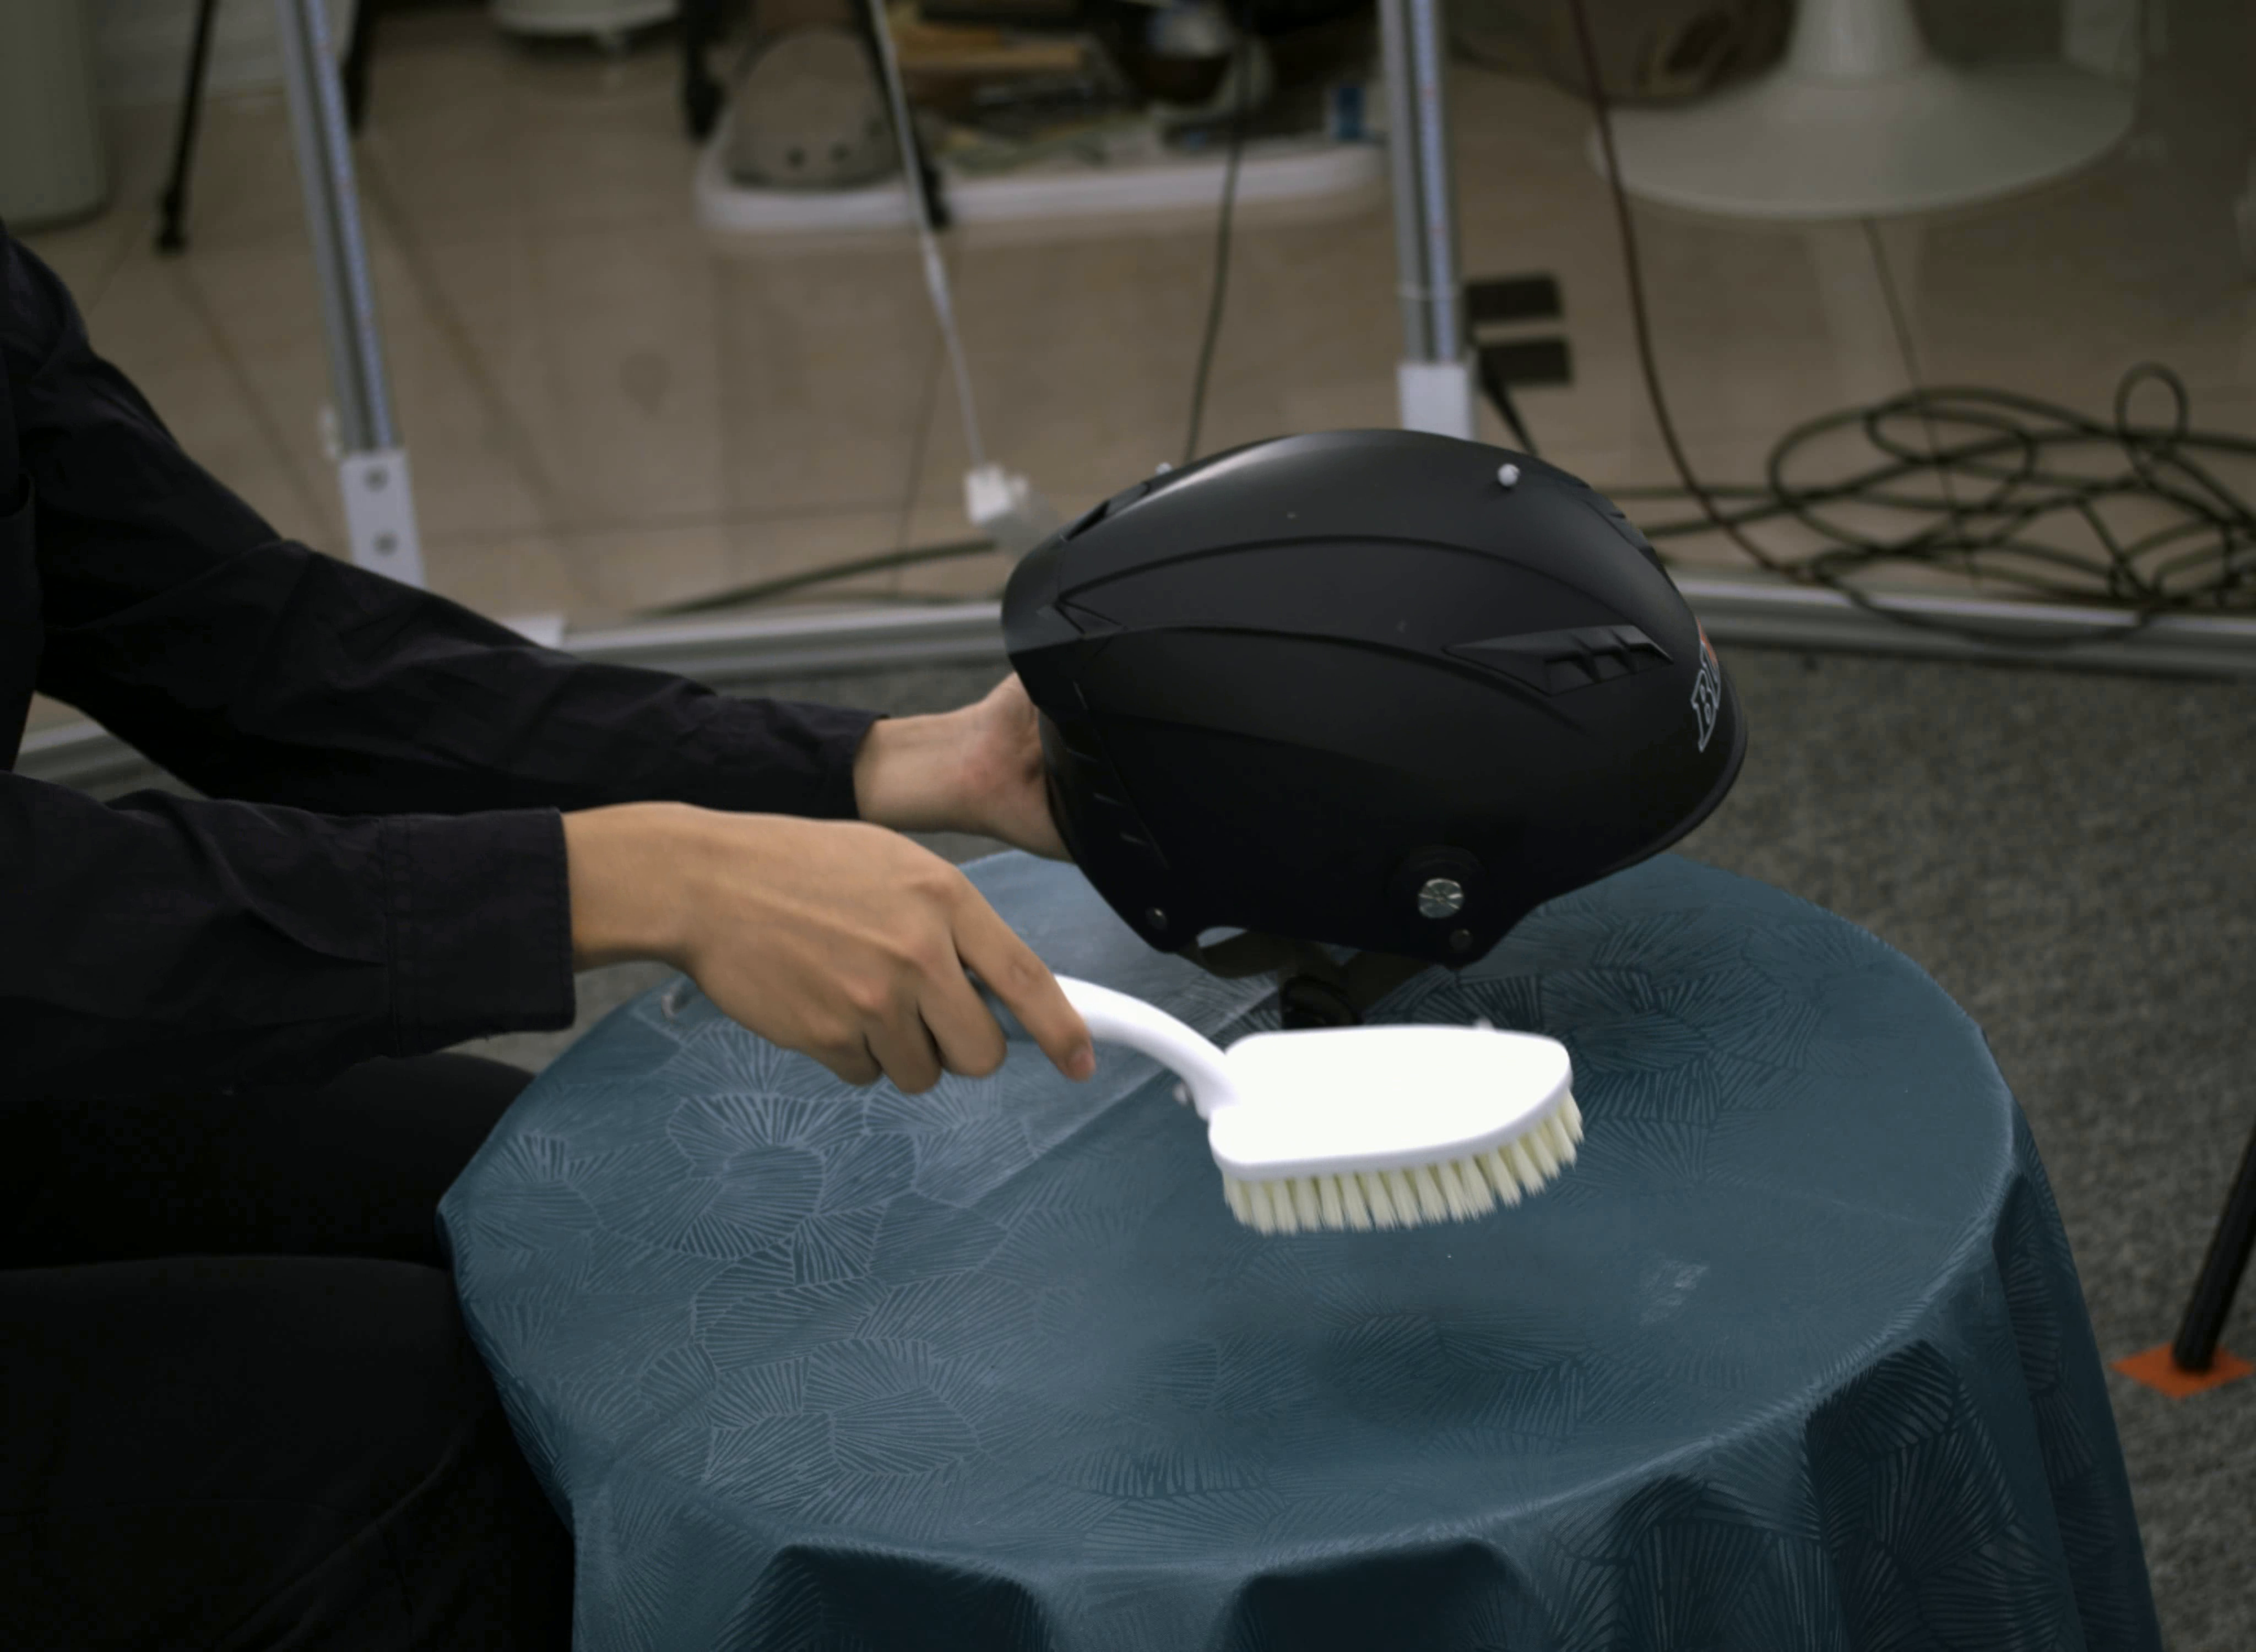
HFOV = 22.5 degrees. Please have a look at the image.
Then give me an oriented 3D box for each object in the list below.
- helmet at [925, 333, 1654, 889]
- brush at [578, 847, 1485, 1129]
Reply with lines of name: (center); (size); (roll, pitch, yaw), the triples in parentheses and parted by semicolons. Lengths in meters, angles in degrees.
helmet: (0.063, -0.104, 2.232); (0.276, 0.176, 0.242); (-3, 40, 12)
brush: (-0.035, 0.060, 2.029); (0.325, 0.085, 0.083); (5, 5, 2)
